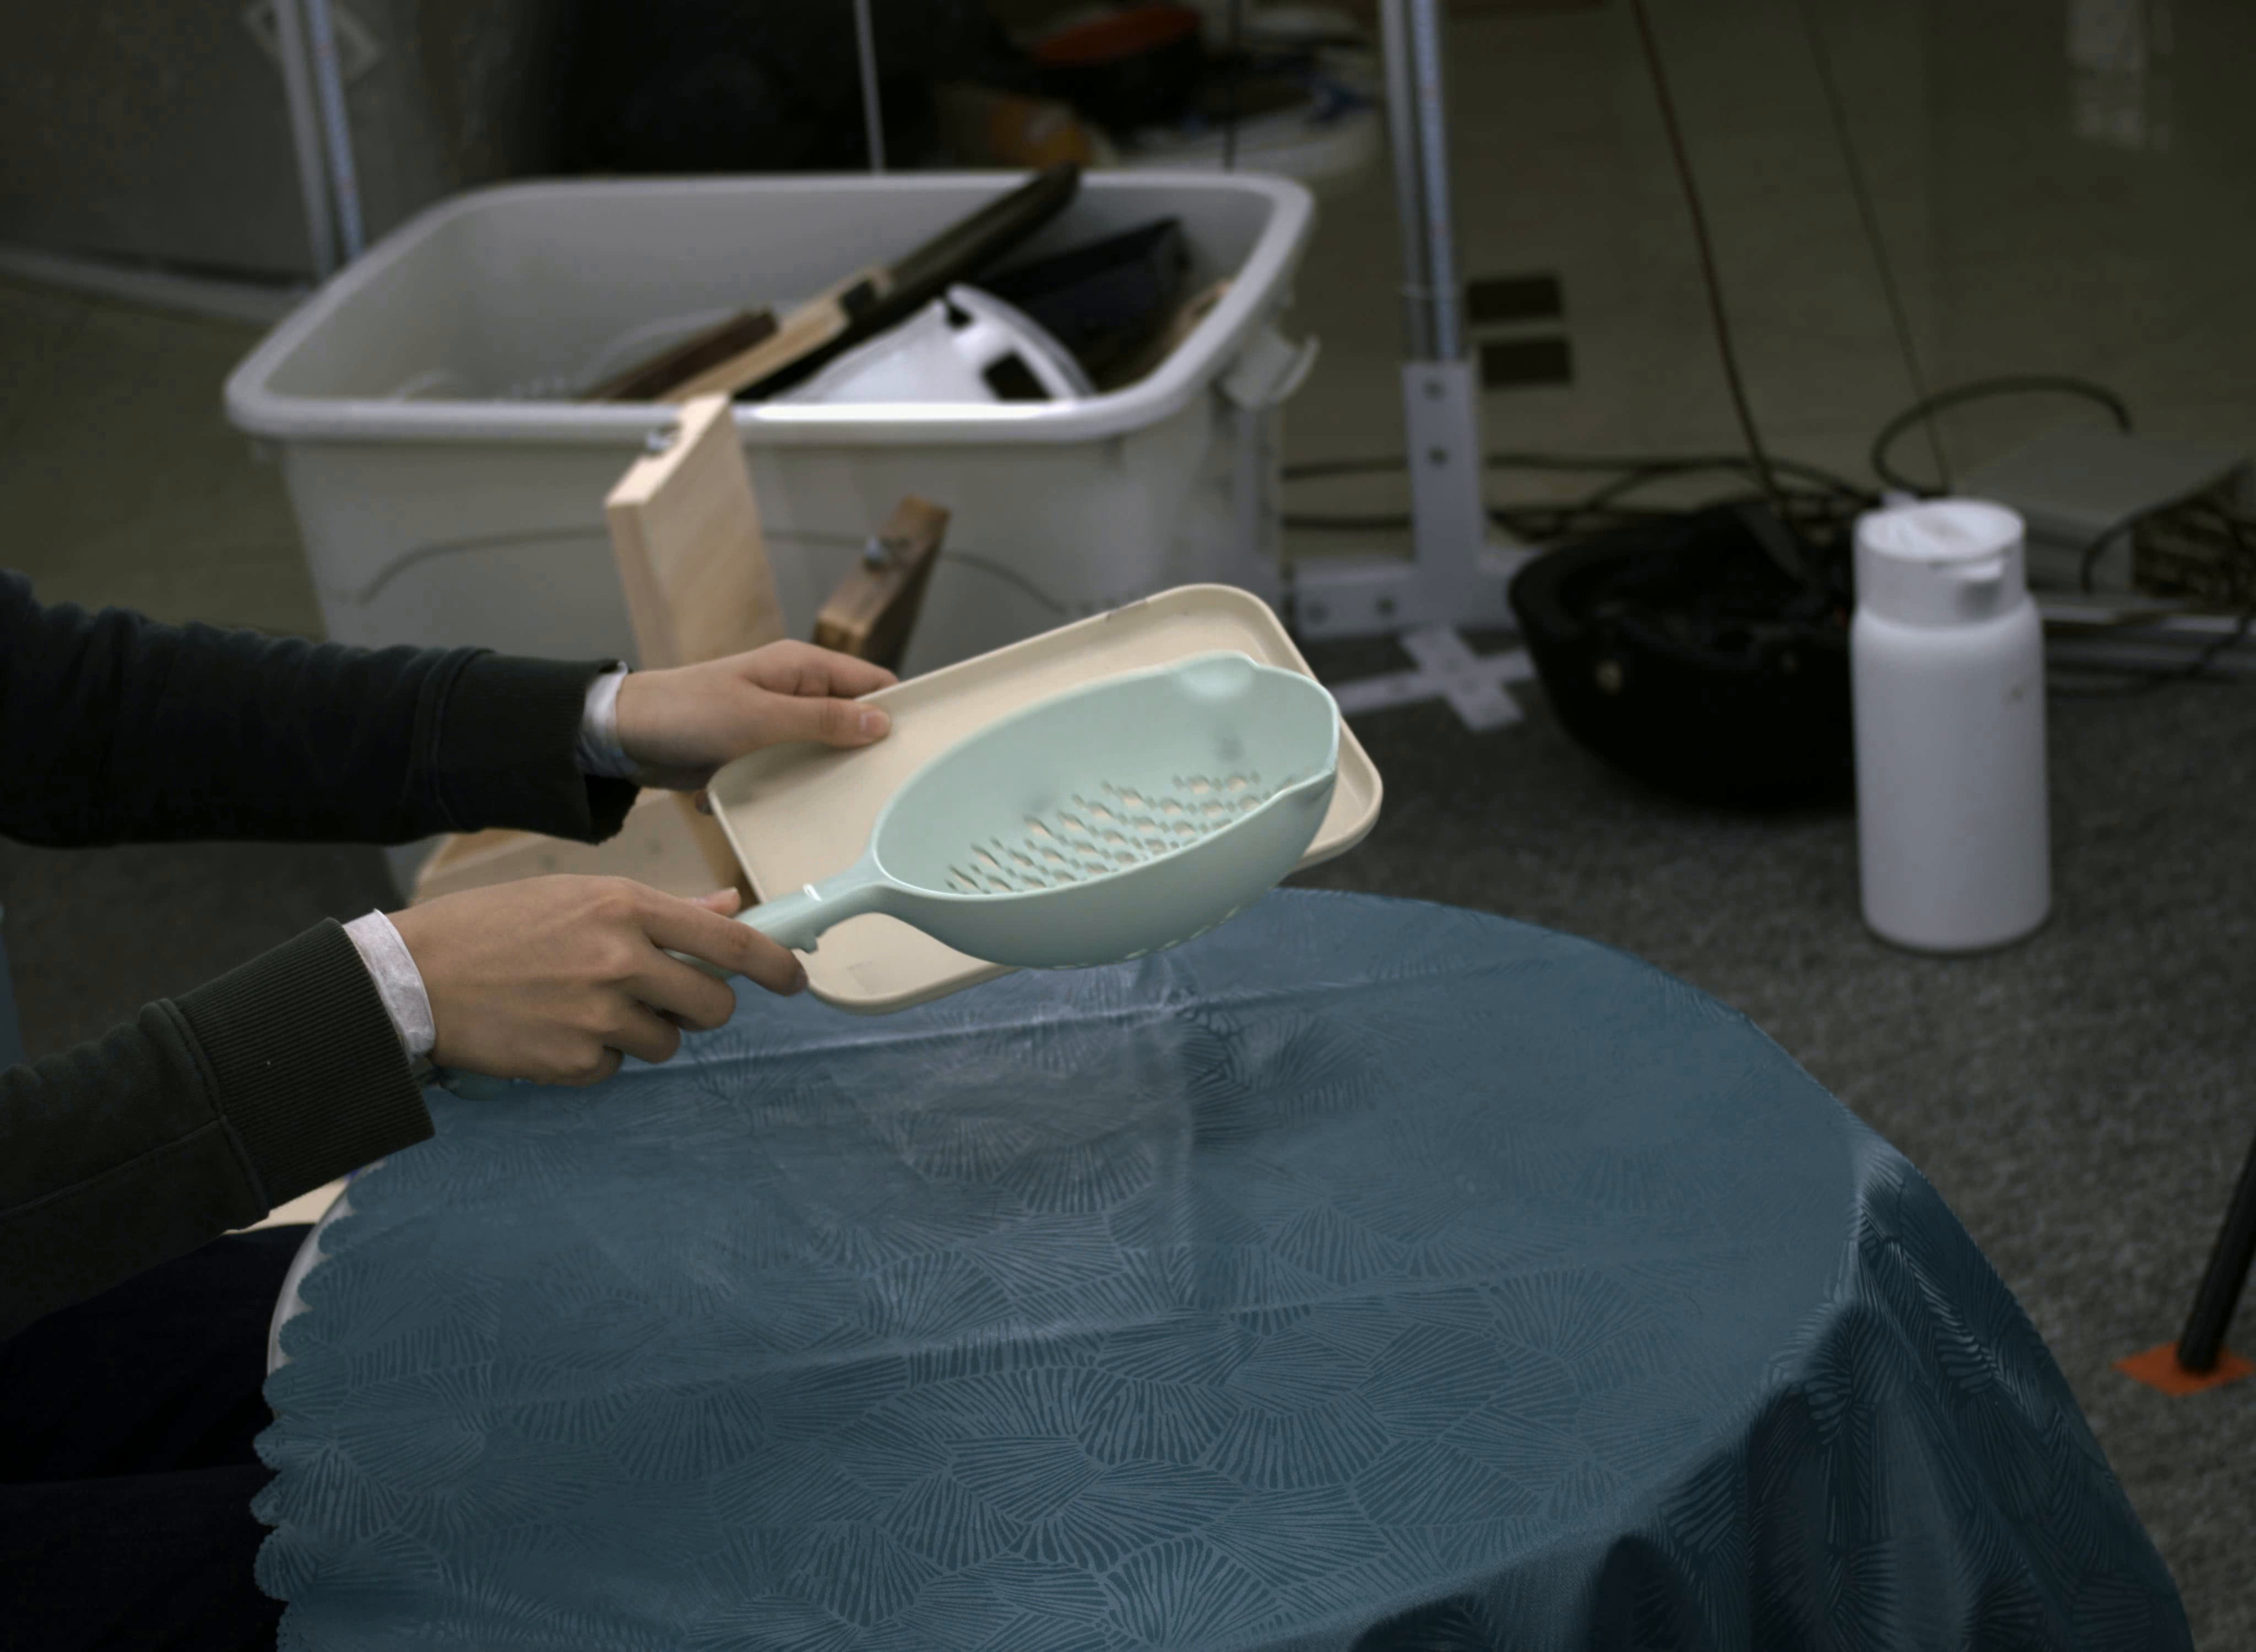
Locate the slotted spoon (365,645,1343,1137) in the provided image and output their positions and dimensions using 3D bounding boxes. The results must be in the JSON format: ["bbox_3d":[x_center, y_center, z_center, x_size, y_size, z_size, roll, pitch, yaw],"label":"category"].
[{"bbox_3d":[-0.096,0.029,1.959,0.358,0.076,0.167,-14,24,-12],"label":"slotted spoon"}]

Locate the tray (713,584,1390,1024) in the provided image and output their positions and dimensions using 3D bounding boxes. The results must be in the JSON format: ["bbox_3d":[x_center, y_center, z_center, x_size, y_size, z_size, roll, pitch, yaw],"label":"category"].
[{"bbox_3d":[-0.030,-0.009,2.195,0.239,0.018,0.168,-20,44,-10],"label":"tray"}]
